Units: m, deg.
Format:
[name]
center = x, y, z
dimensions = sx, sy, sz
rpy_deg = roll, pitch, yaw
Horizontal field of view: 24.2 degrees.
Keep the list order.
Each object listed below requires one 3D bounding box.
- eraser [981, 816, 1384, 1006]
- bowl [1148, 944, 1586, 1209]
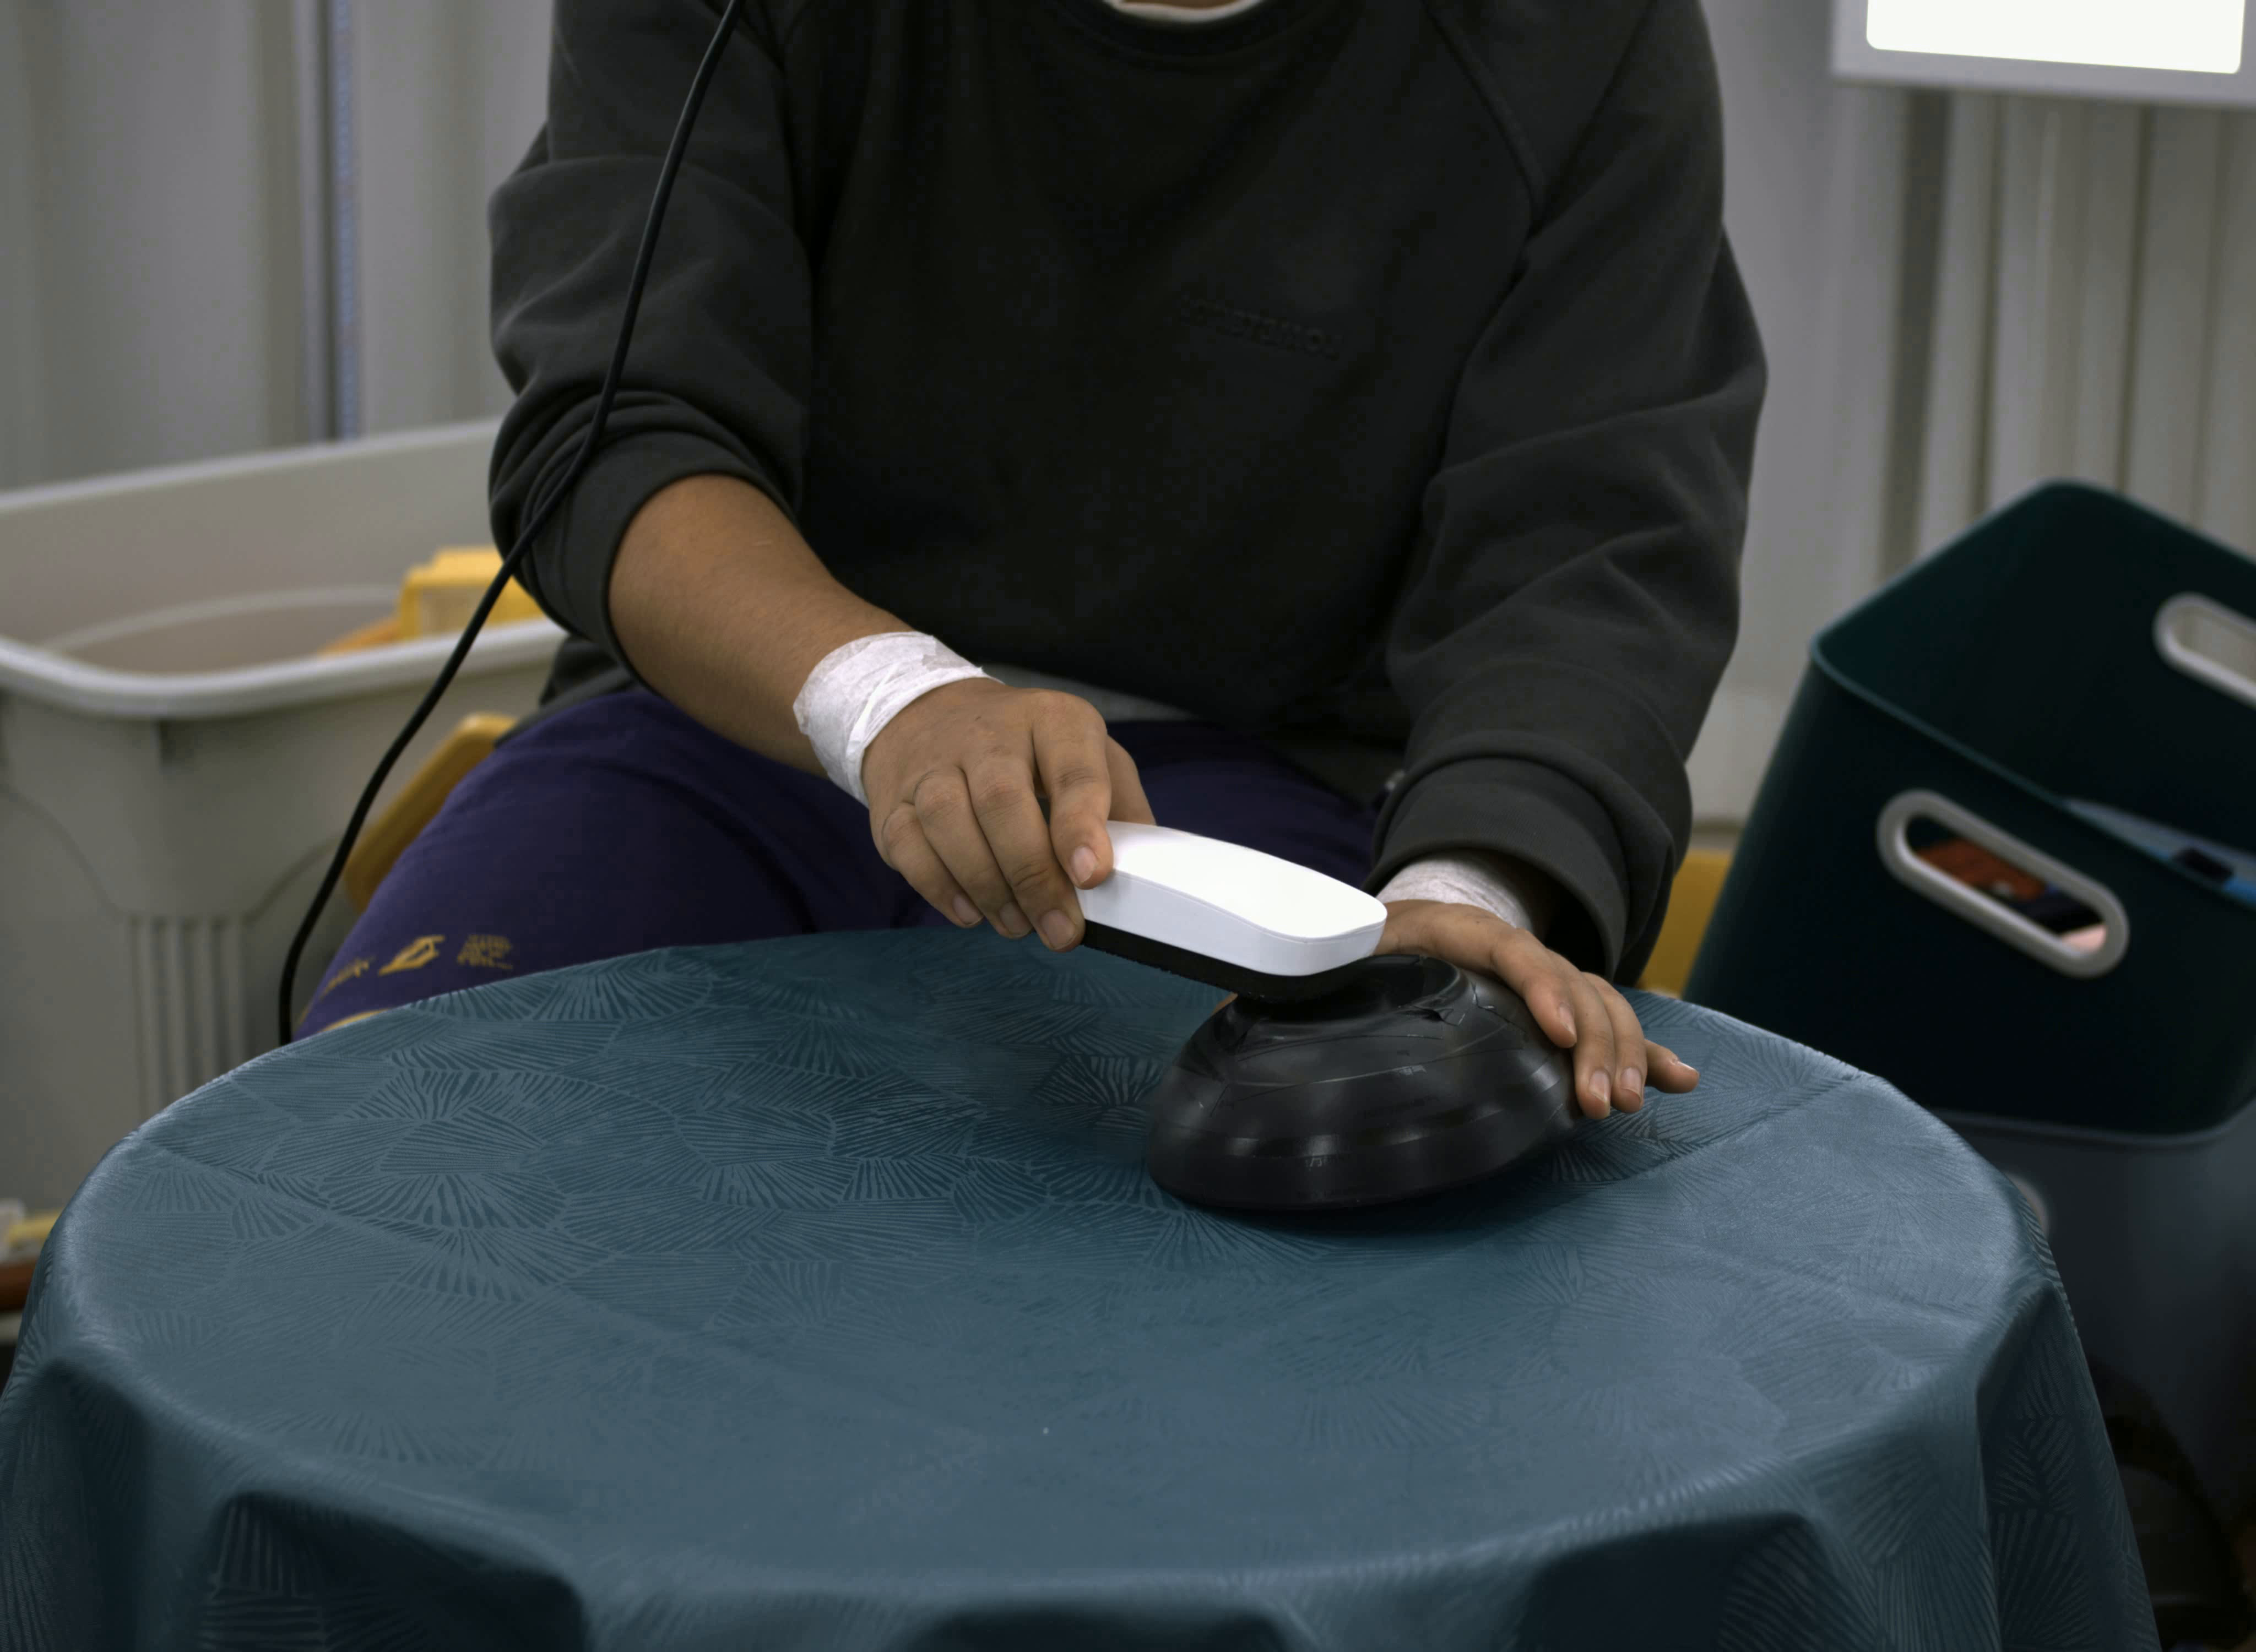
[eraser]
center = 0.016, 0.022, 1.657
dimensions = 0.129, 0.035, 0.064
rpy_deg = 19, 18, 35
[bowl]
center = 0.070, 0.071, 1.637
dimensions = 0.139, 0.050, 0.139
rpy_deg = -9, 16, 3
